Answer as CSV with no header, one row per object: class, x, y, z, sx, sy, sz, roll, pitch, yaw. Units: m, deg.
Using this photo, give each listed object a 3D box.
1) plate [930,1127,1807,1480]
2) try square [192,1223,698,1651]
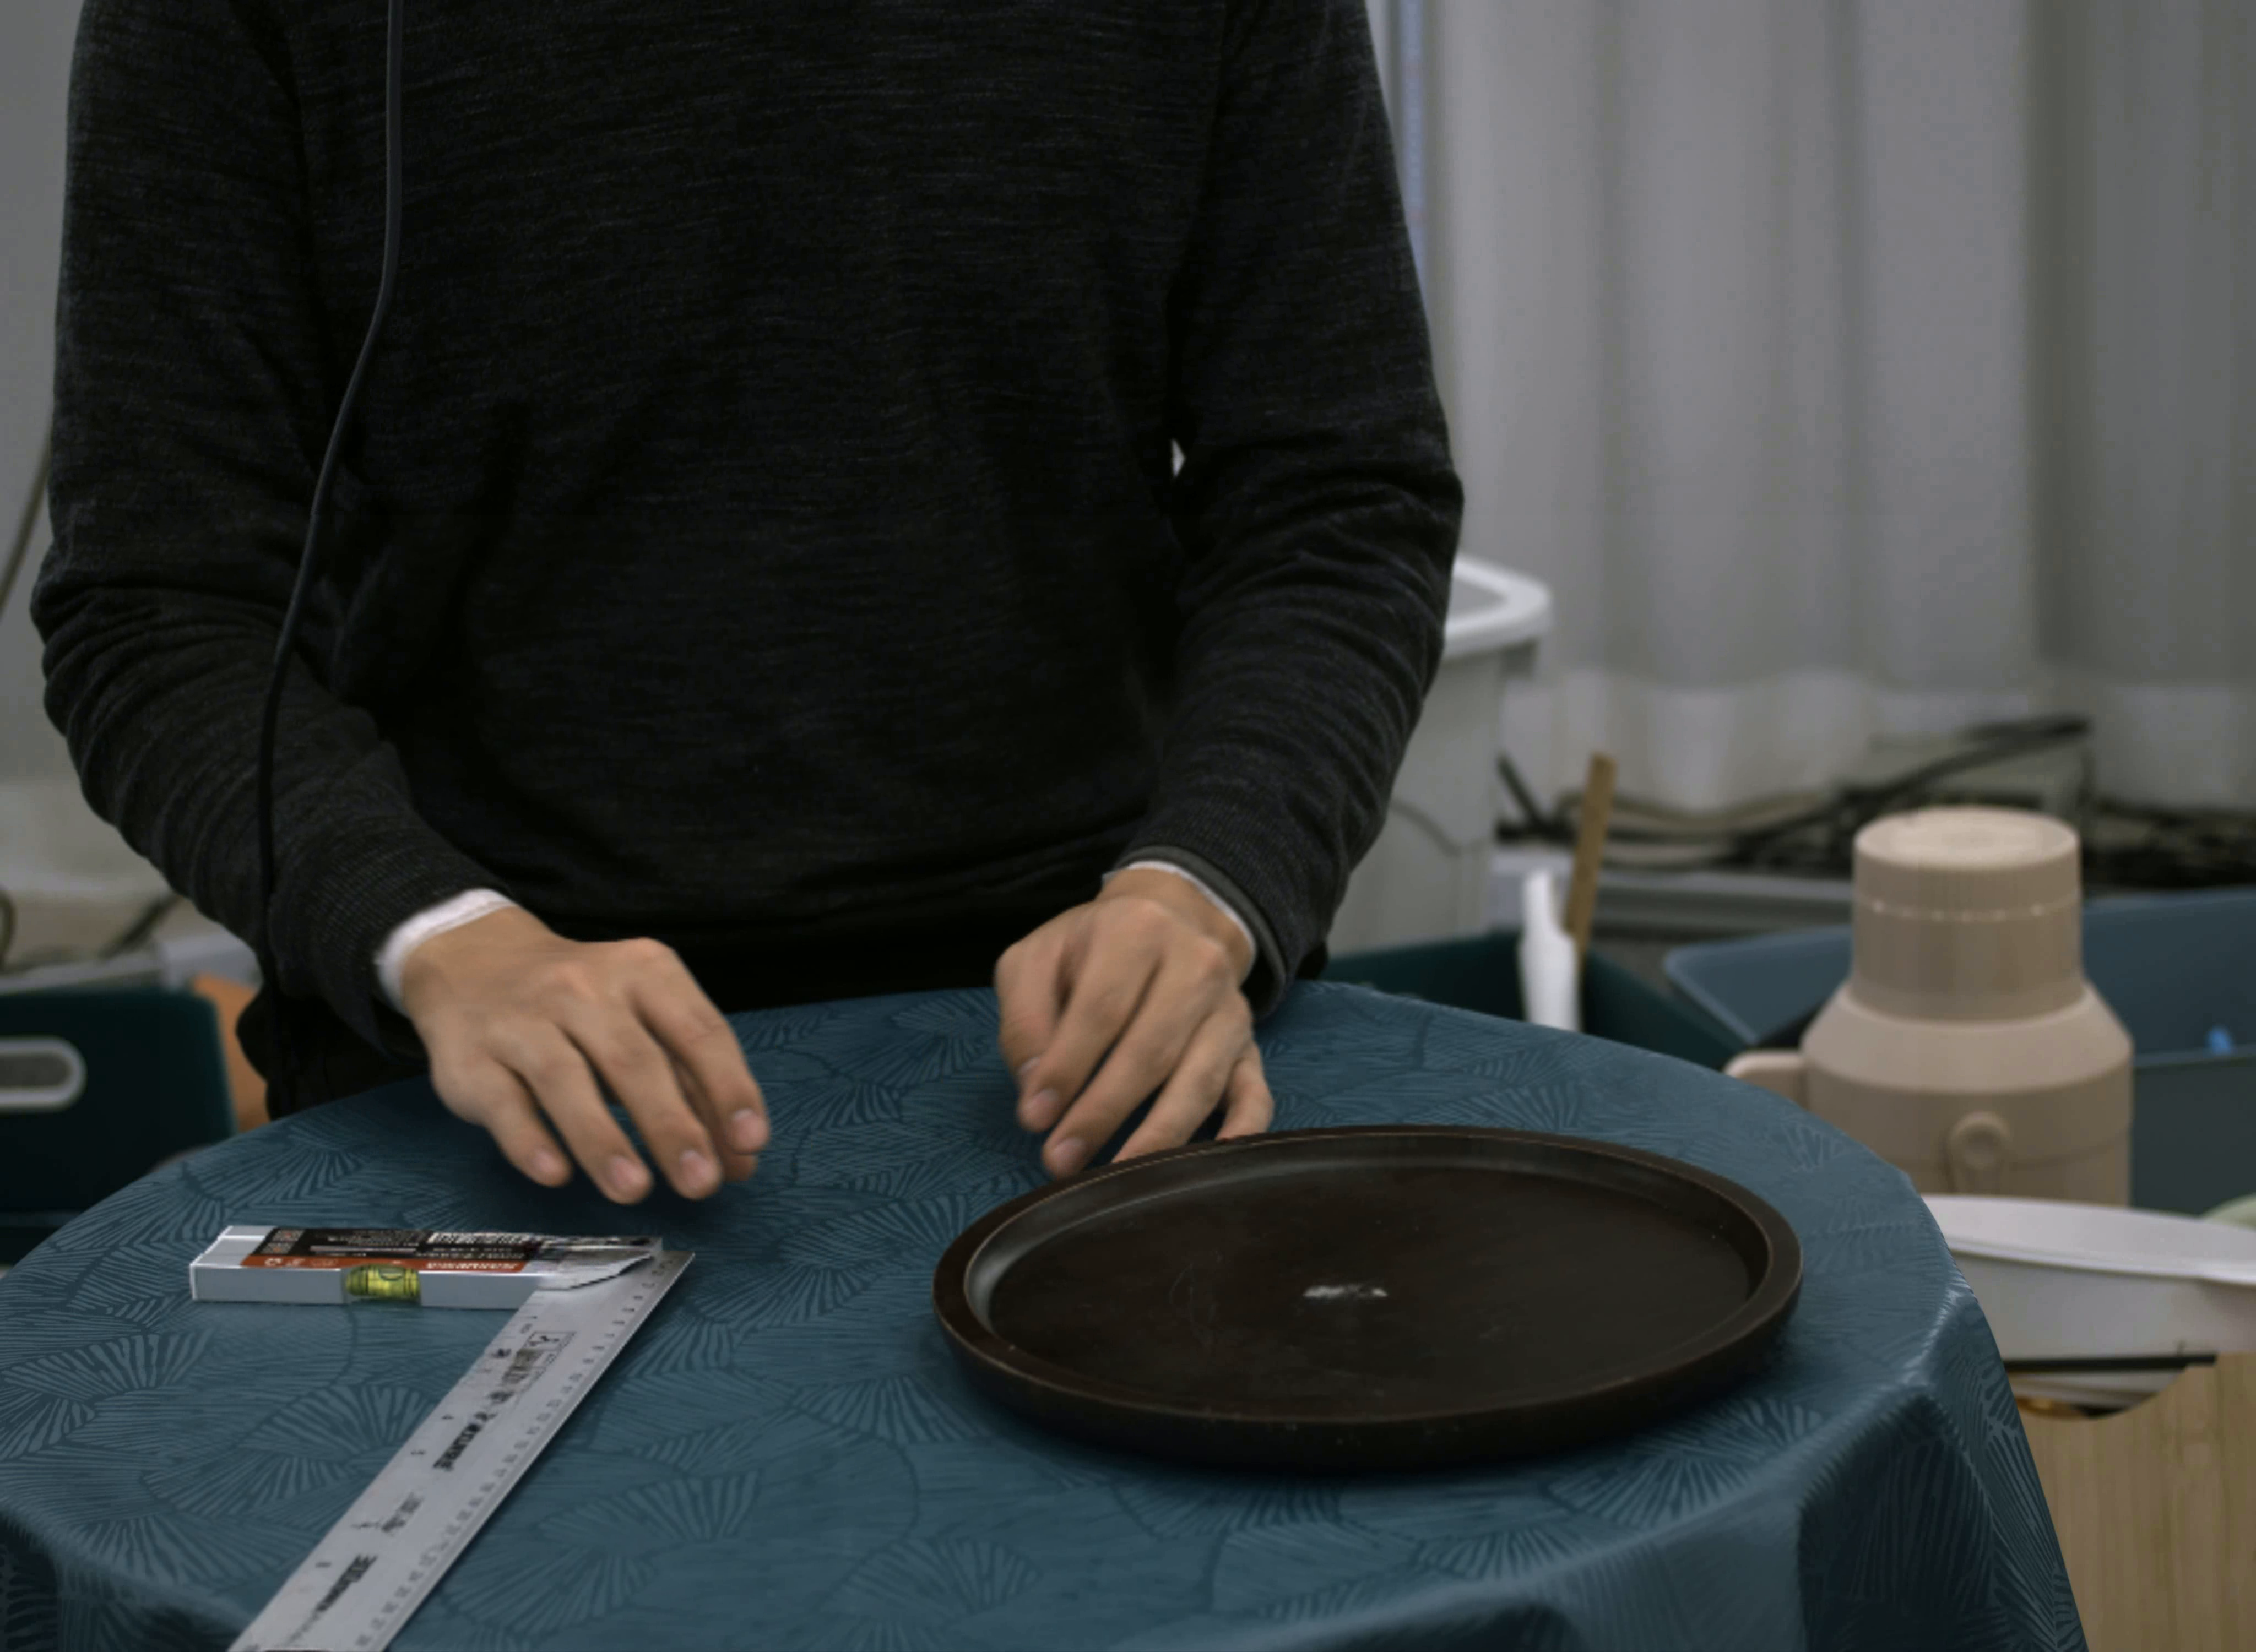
plate,0.069,0.135,1.577,0.254,0.029,0.256,-3,16,1
try square,-0.234,0.172,1.528,0.152,0.016,0.314,1,16,12
